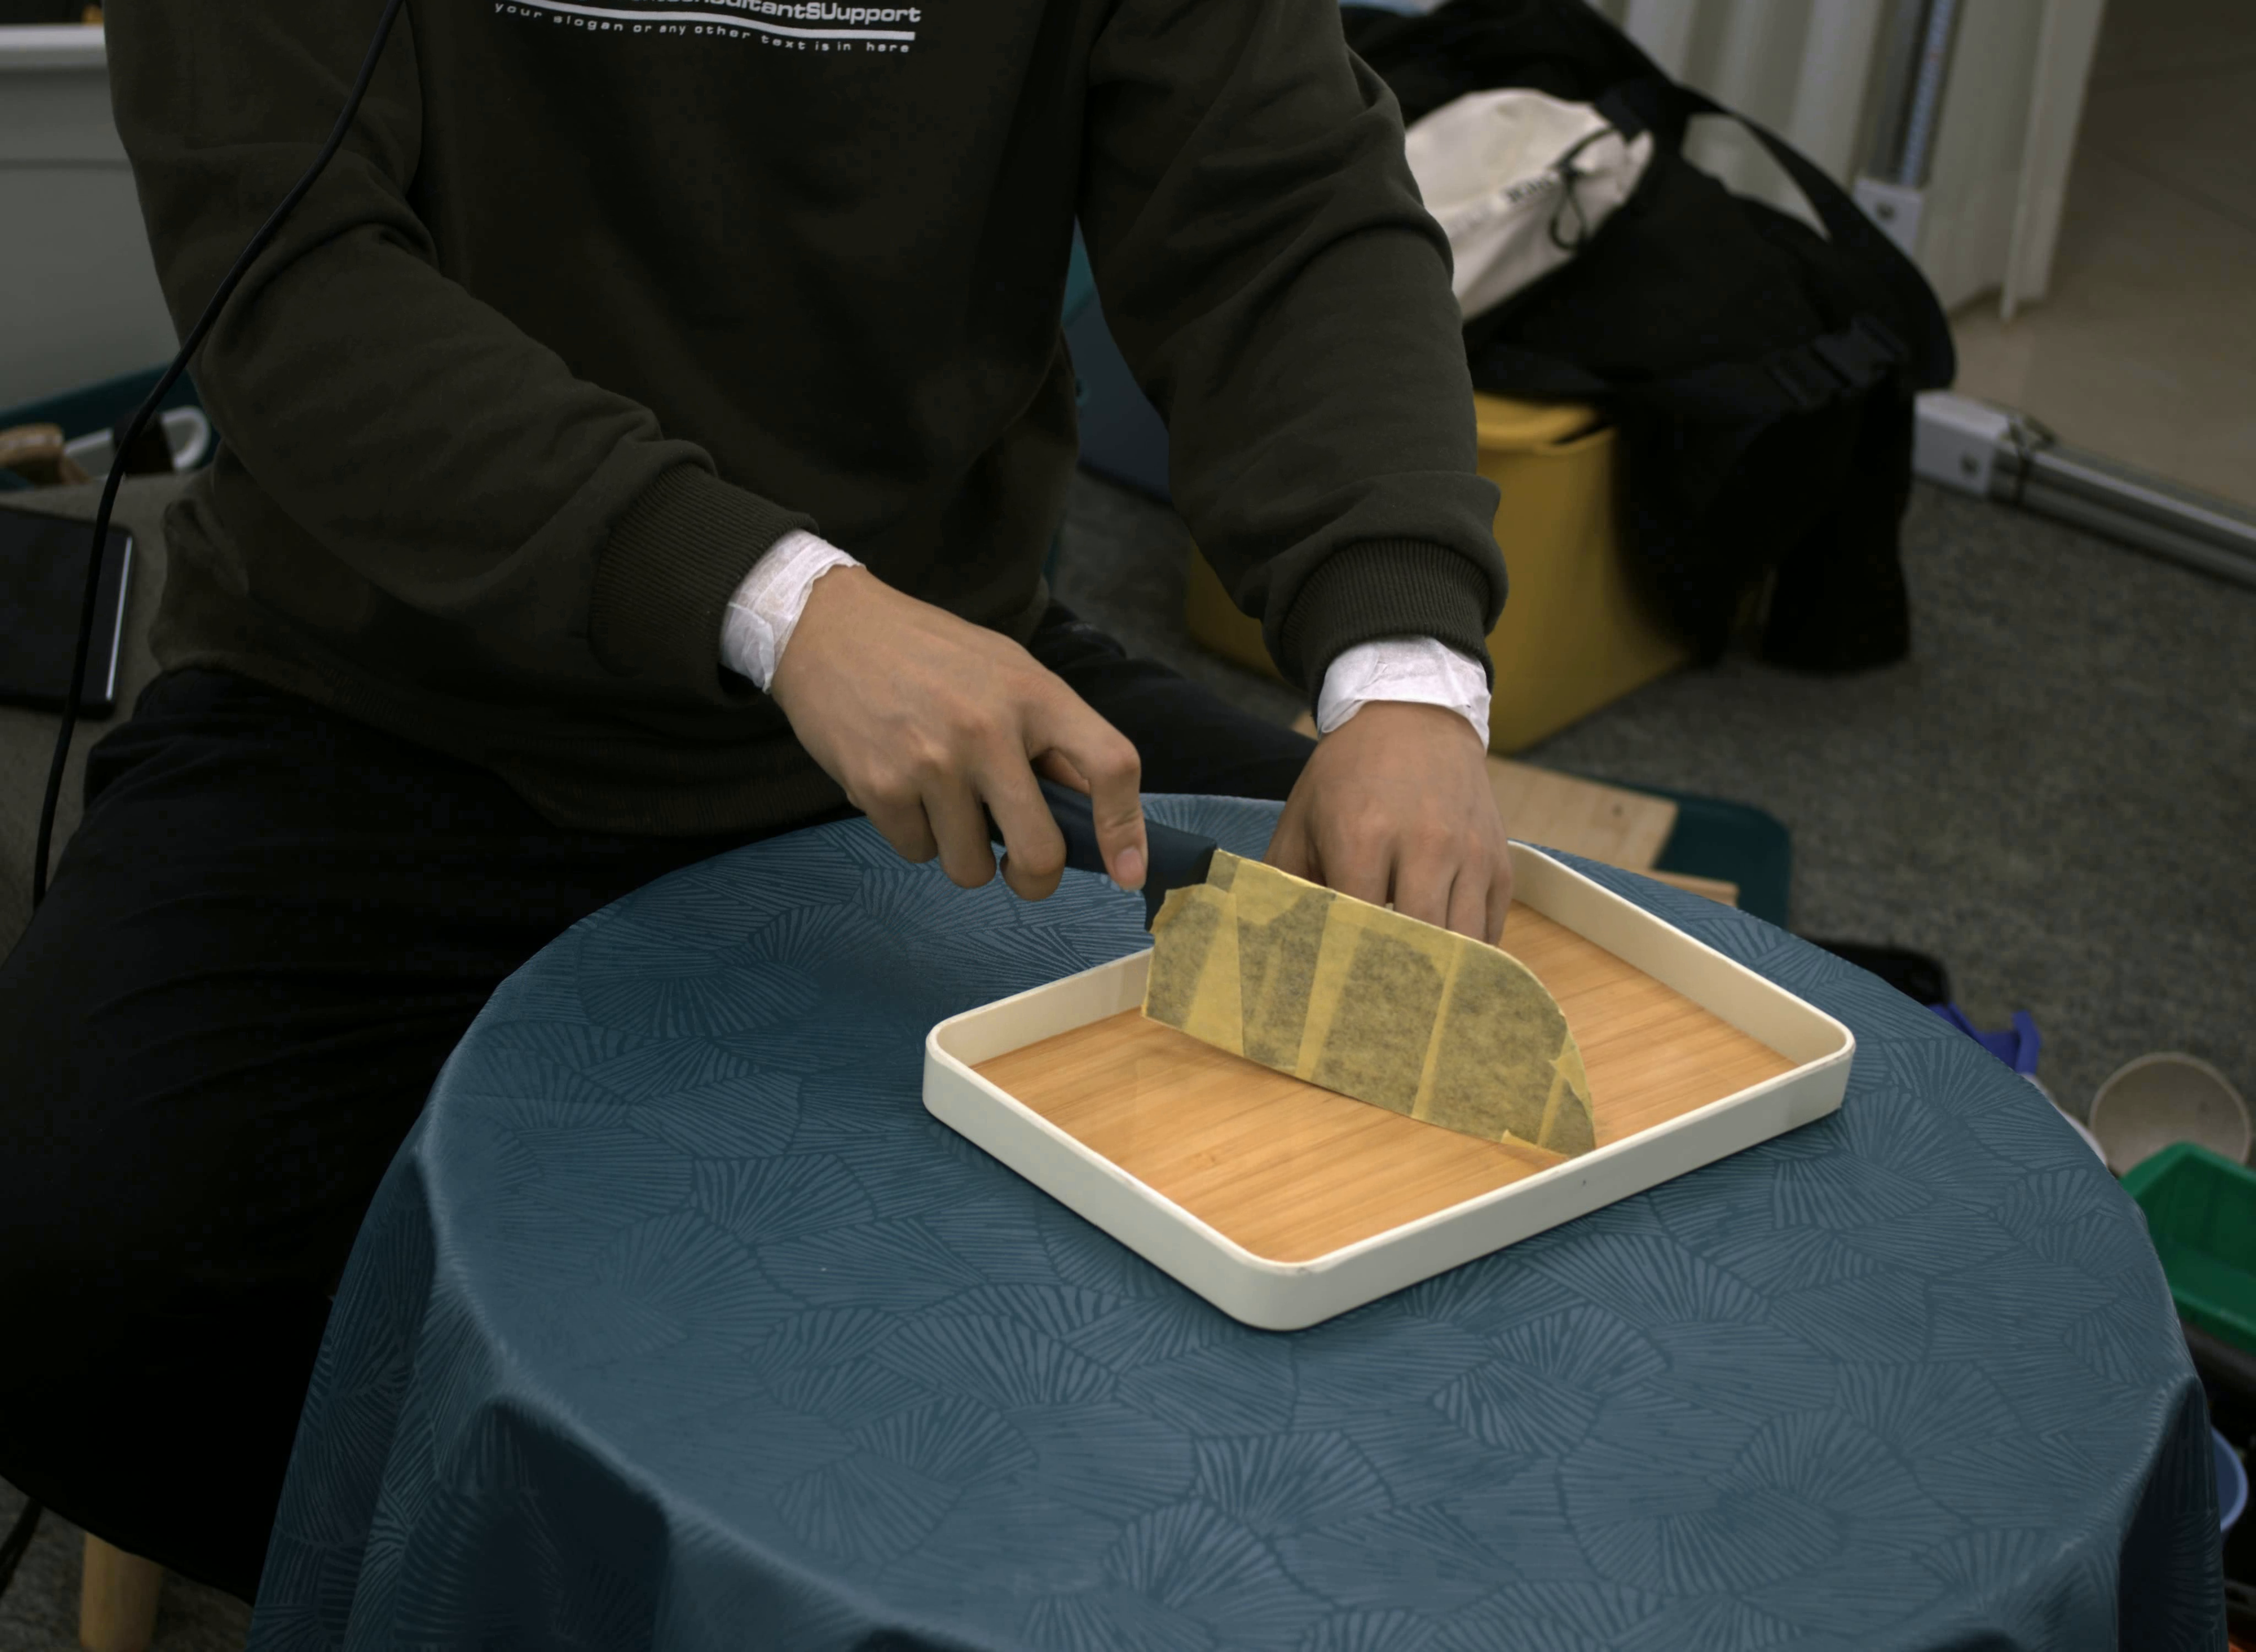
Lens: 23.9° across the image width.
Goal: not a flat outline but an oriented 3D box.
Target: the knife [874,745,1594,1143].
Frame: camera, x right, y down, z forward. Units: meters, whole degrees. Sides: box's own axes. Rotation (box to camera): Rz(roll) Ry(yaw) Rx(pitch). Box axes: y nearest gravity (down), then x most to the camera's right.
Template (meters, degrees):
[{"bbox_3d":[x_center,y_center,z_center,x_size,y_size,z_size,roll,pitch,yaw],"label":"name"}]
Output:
[{"bbox_3d":[0.034,0.040,1.870,0.290,0.081,0.027,24,22,19],"label":"knife"}]

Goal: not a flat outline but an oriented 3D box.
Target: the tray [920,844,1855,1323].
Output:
[{"bbox_3d":[0.093,0.085,1.874,0.298,0.027,0.193,-17,34,-39],"label":"tray"}]
